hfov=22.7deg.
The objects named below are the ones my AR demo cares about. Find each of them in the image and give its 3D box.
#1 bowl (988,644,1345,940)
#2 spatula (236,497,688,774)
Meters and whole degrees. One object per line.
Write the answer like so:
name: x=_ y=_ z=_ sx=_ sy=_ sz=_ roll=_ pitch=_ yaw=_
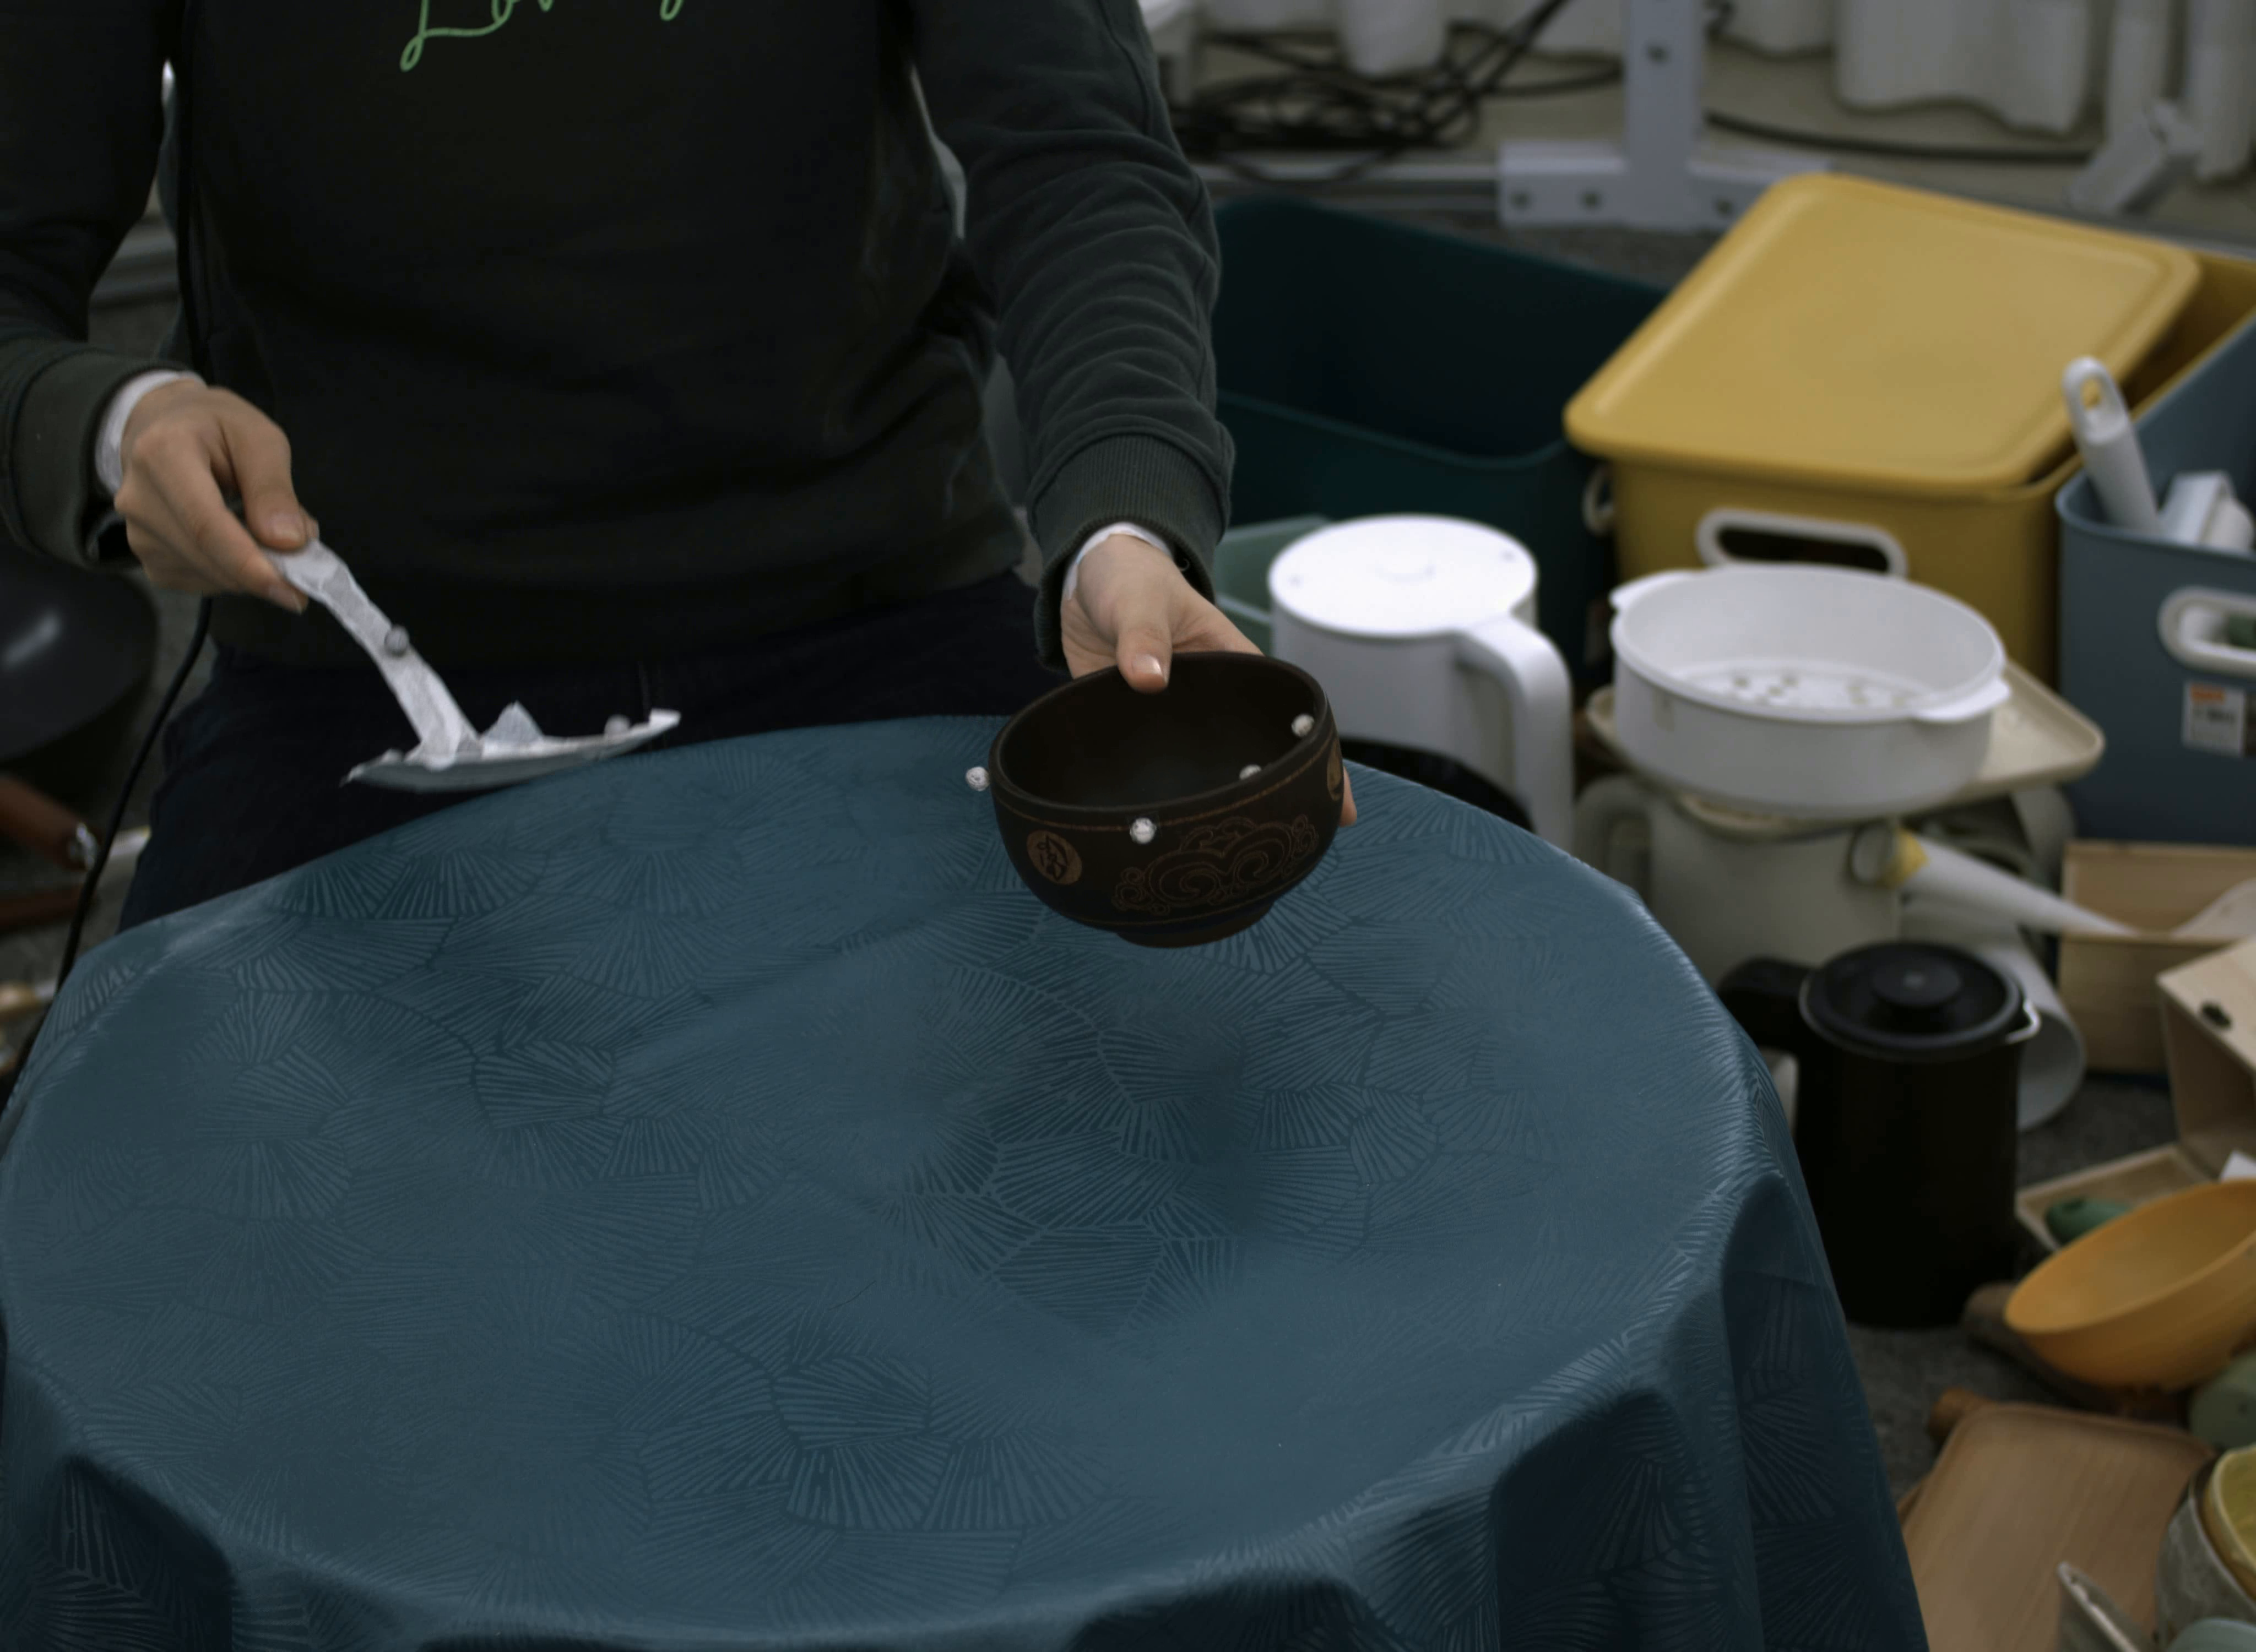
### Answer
bowl: x=0.016 y=-0.005 z=1.875 sx=0.117 sy=0.069 sz=0.119 roll=-9 pitch=24 yaw=4
spatula: x=-0.245 y=-0.072 z=1.866 sx=0.099 sy=0.044 sz=0.366 roll=-10 pitch=23 yaw=-22
